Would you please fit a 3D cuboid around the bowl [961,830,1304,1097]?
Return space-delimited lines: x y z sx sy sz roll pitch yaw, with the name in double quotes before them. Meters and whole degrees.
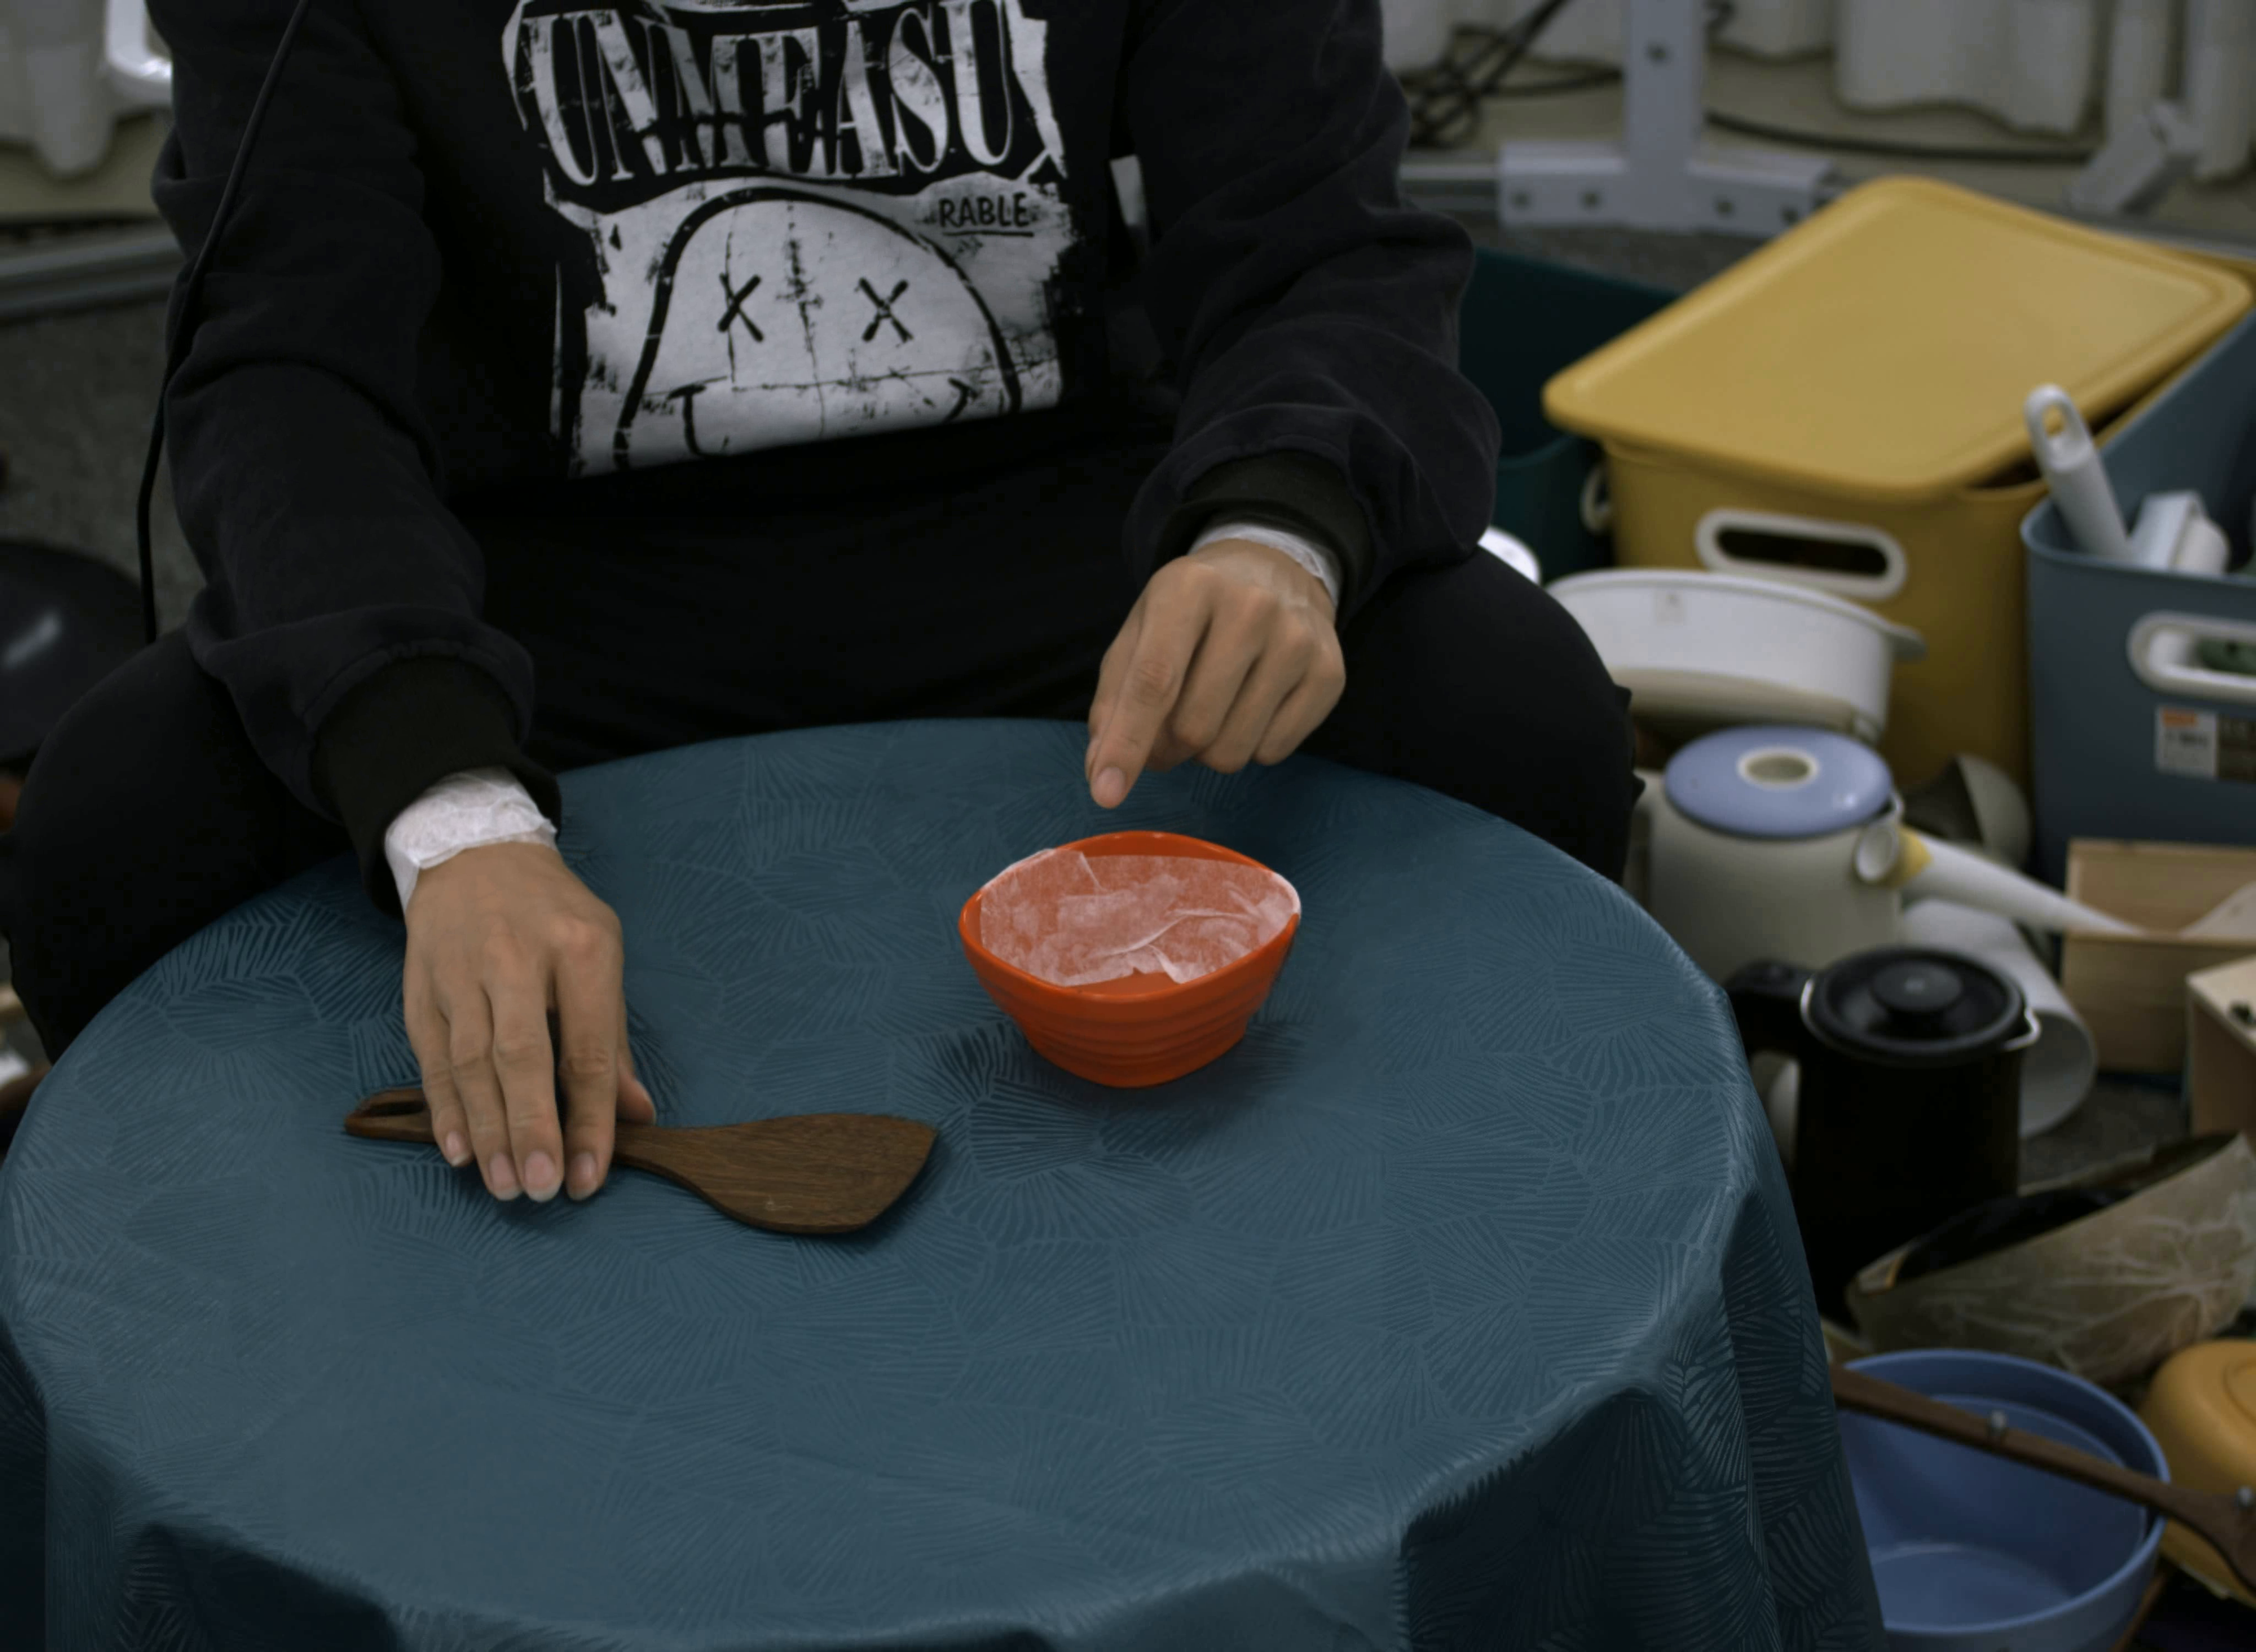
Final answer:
"bowl" 0.003 0.052 1.943 0.118 0.051 0.121 -3 29 2

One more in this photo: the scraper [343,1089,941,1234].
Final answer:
"scraper" -0.167 0.109 1.895 0.210 0.011 0.077 6 27 18
